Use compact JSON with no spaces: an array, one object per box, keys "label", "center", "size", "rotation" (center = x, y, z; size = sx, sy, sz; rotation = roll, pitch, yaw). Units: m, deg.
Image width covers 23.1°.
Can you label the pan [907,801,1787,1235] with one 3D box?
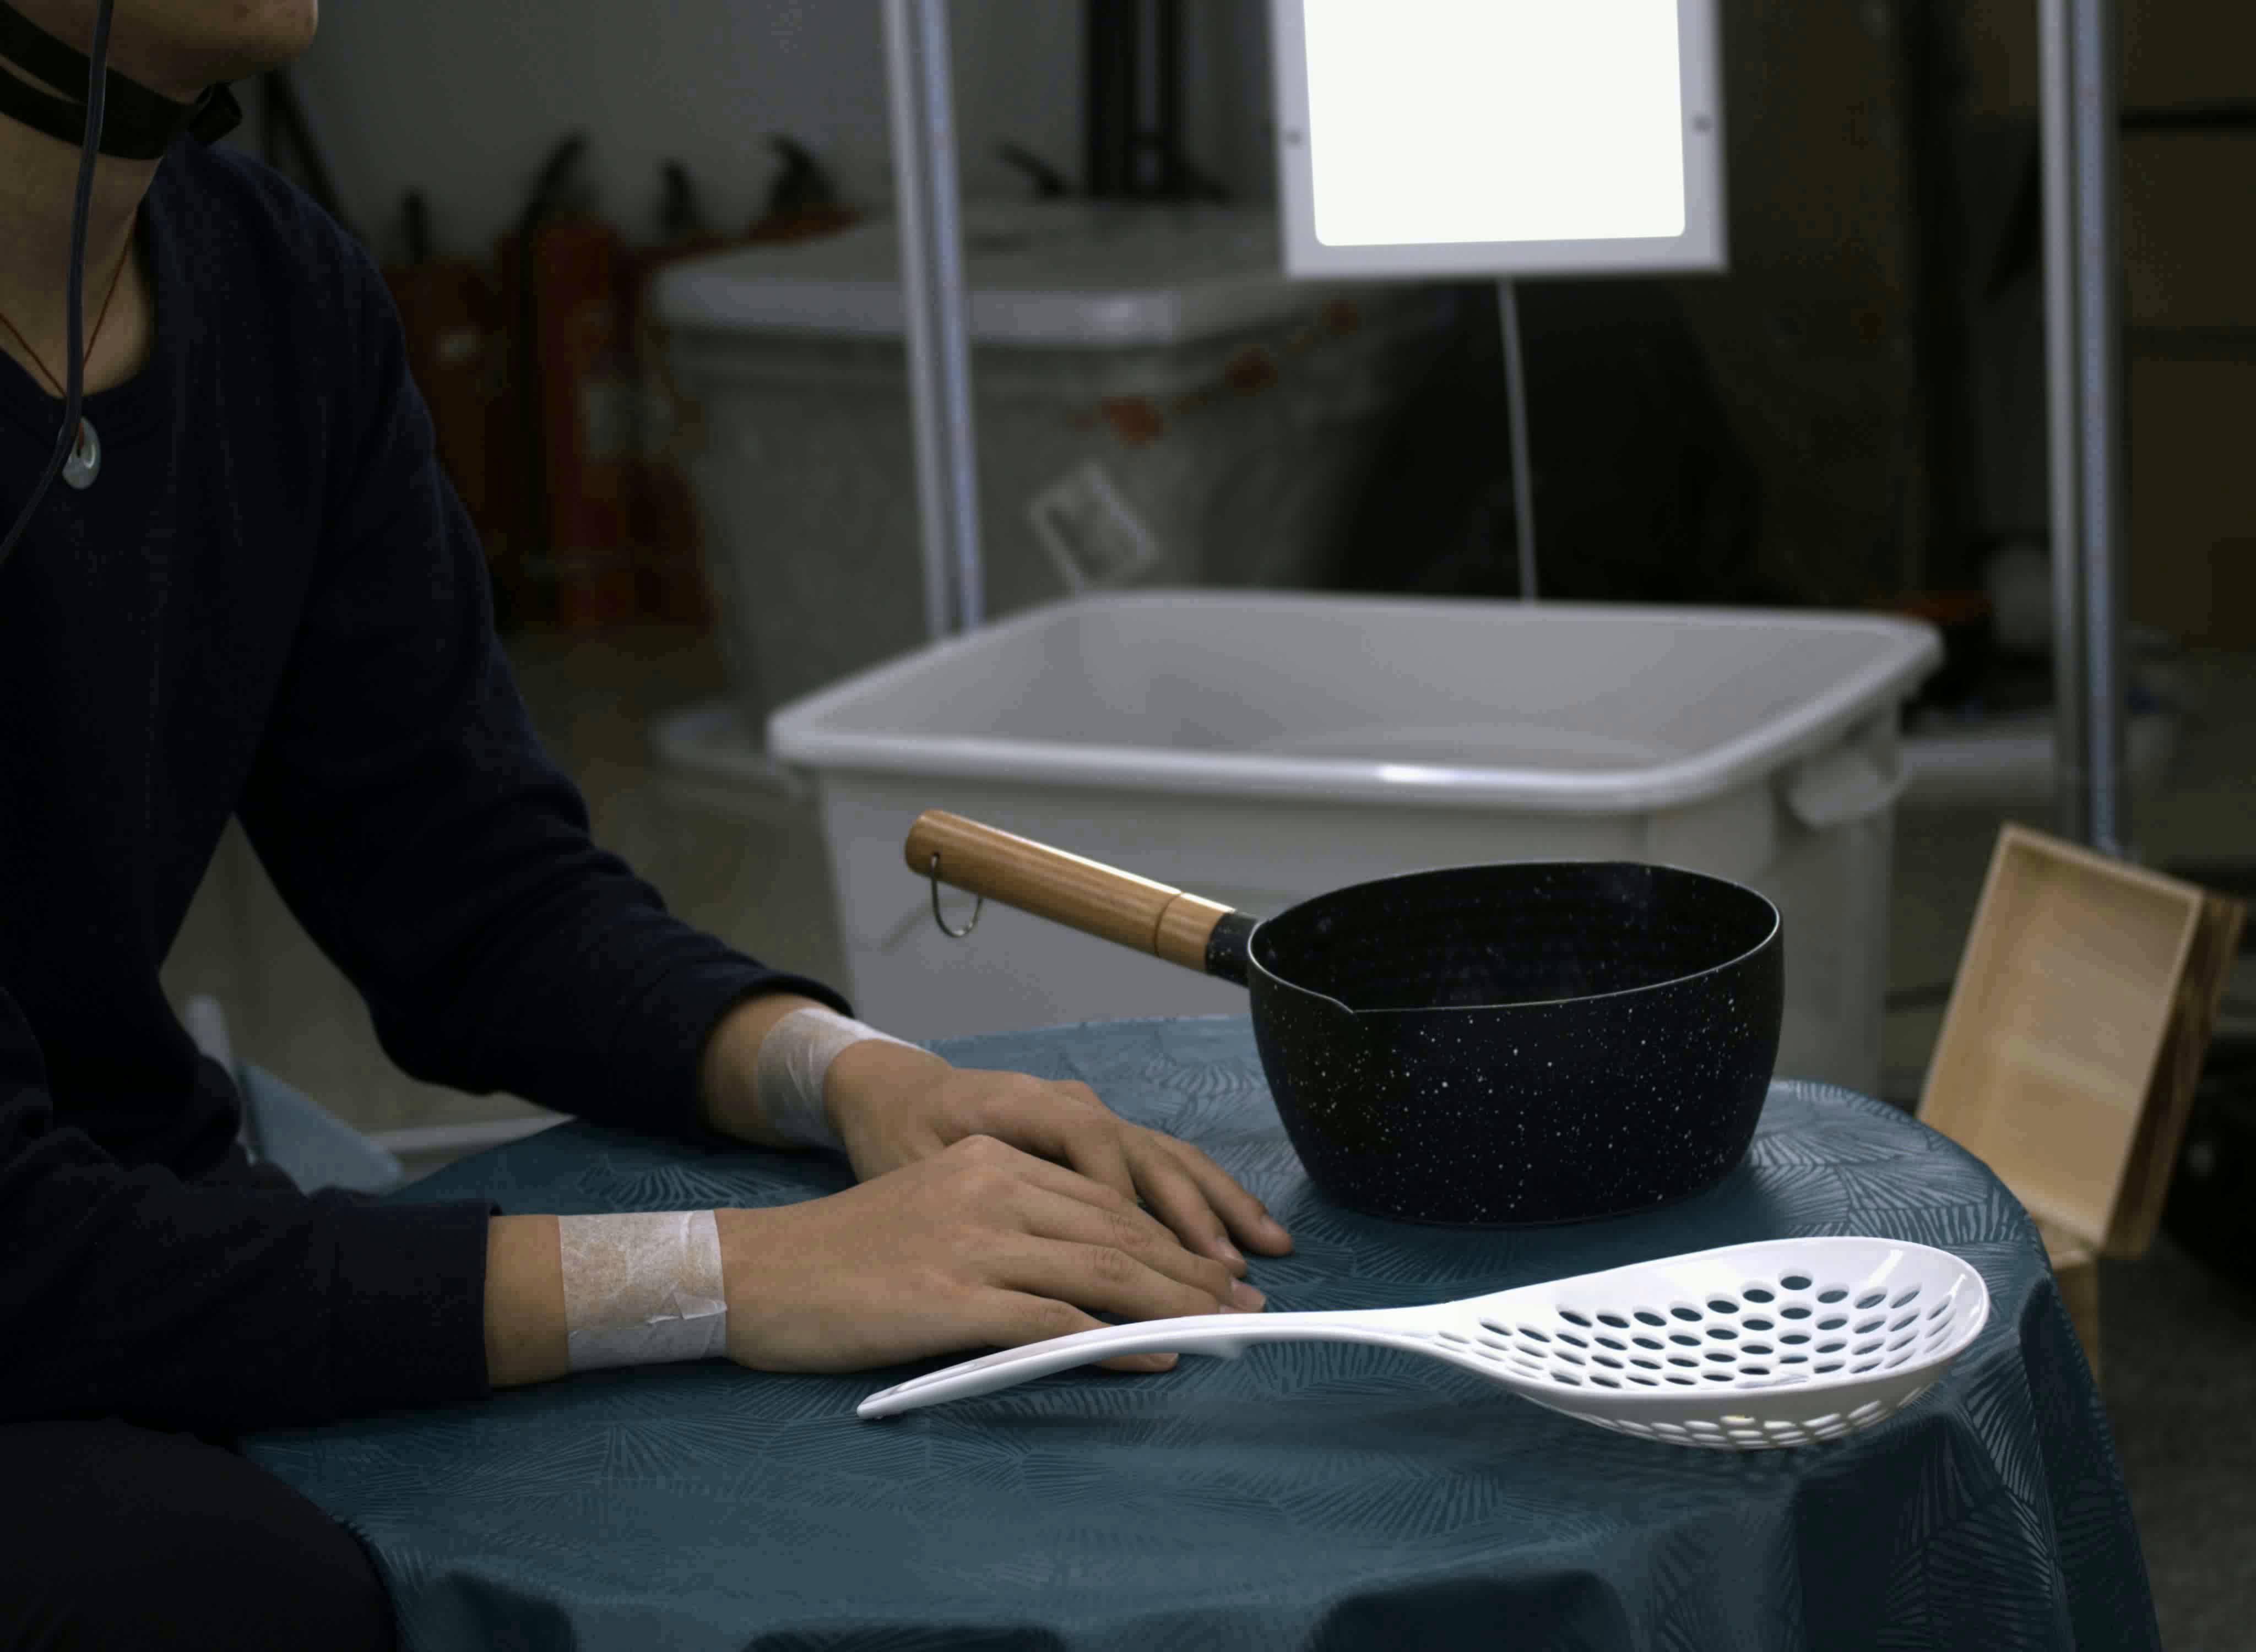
[{"label":"pan","center":[0.067,0.059,1.922],"size":[0.349,0.108,0.202],"rotation":[6,18,33]}]

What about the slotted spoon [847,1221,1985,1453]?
[{"label":"slotted spoon","center":[0.084,0.159,1.643],"size":[0.351,0.050,0.135],"rotation":[0,16,16]}]
